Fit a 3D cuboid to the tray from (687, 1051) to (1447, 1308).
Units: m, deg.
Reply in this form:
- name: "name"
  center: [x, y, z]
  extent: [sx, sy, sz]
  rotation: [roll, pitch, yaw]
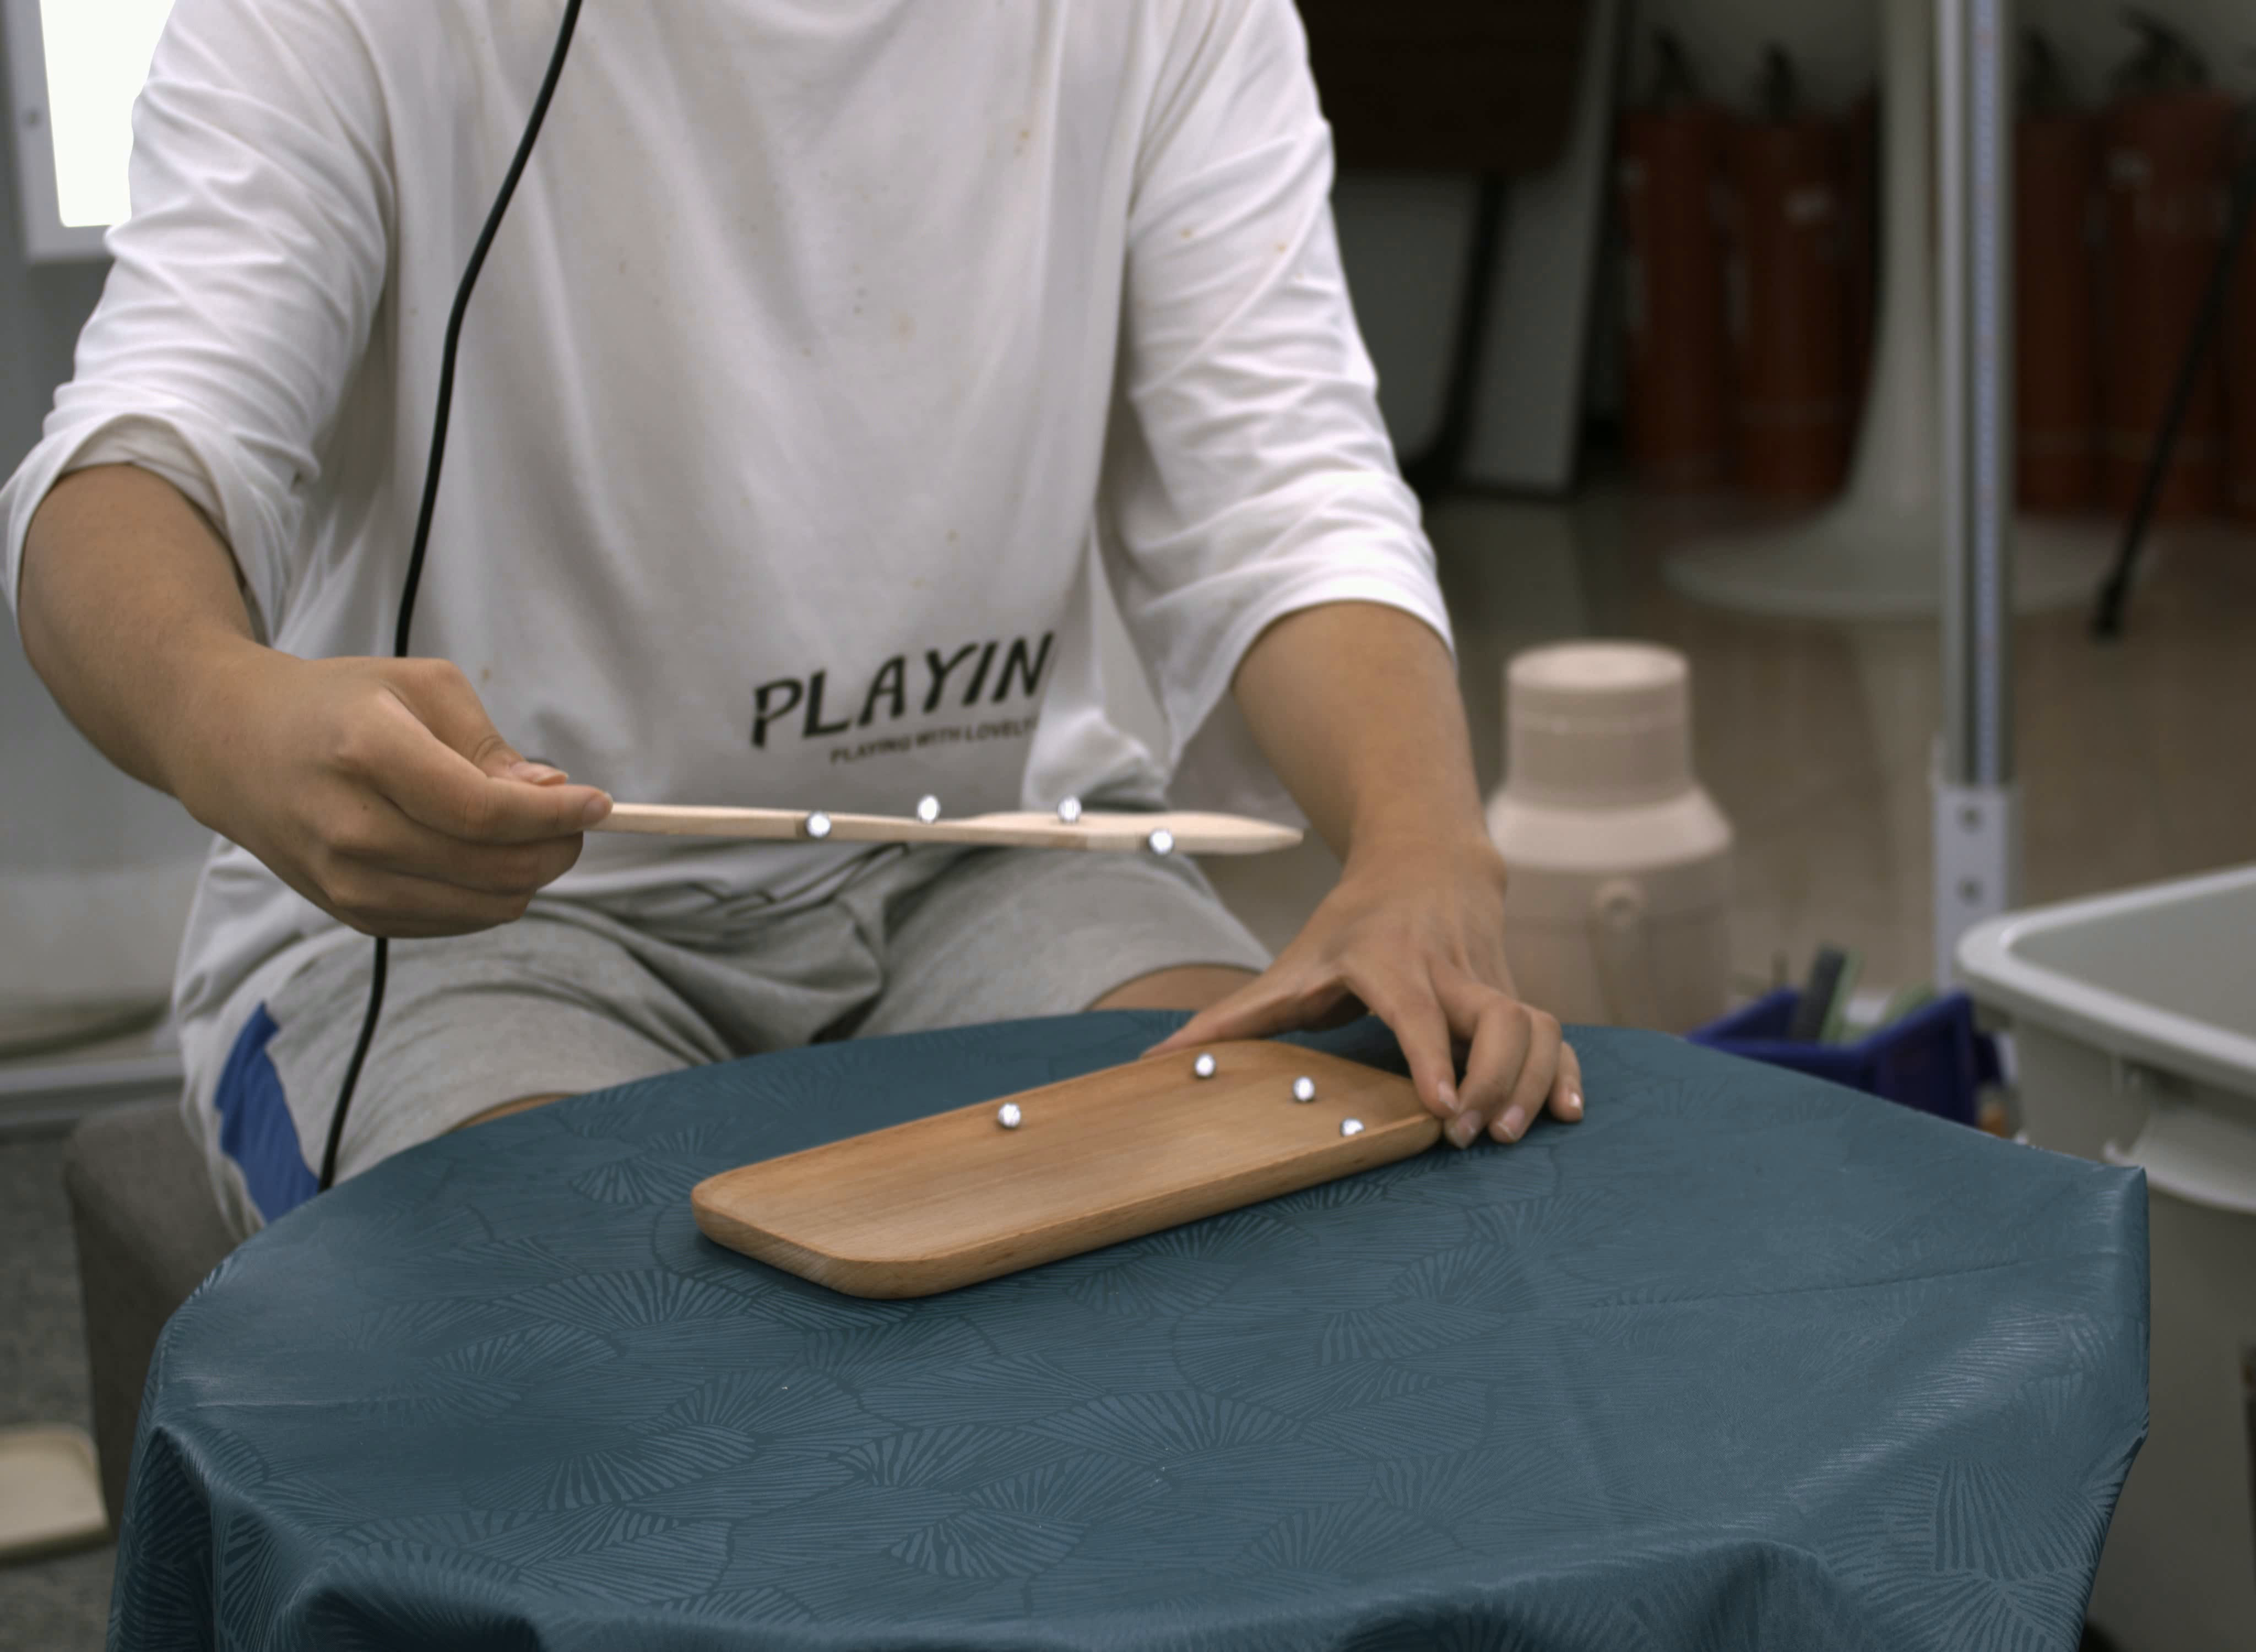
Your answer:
- name: "tray"
  center: [-0.018, 0.115, 1.781]
  extent: [0.245, 0.023, 0.132]
  rotation: [-14, 14, -33]

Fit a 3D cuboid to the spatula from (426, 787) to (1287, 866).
- name: "spatula"
  center: [-0.085, 0.001, 1.697]
  extent: [0.286, 0.011, 0.073]
  rotation: [3, 4, -31]
